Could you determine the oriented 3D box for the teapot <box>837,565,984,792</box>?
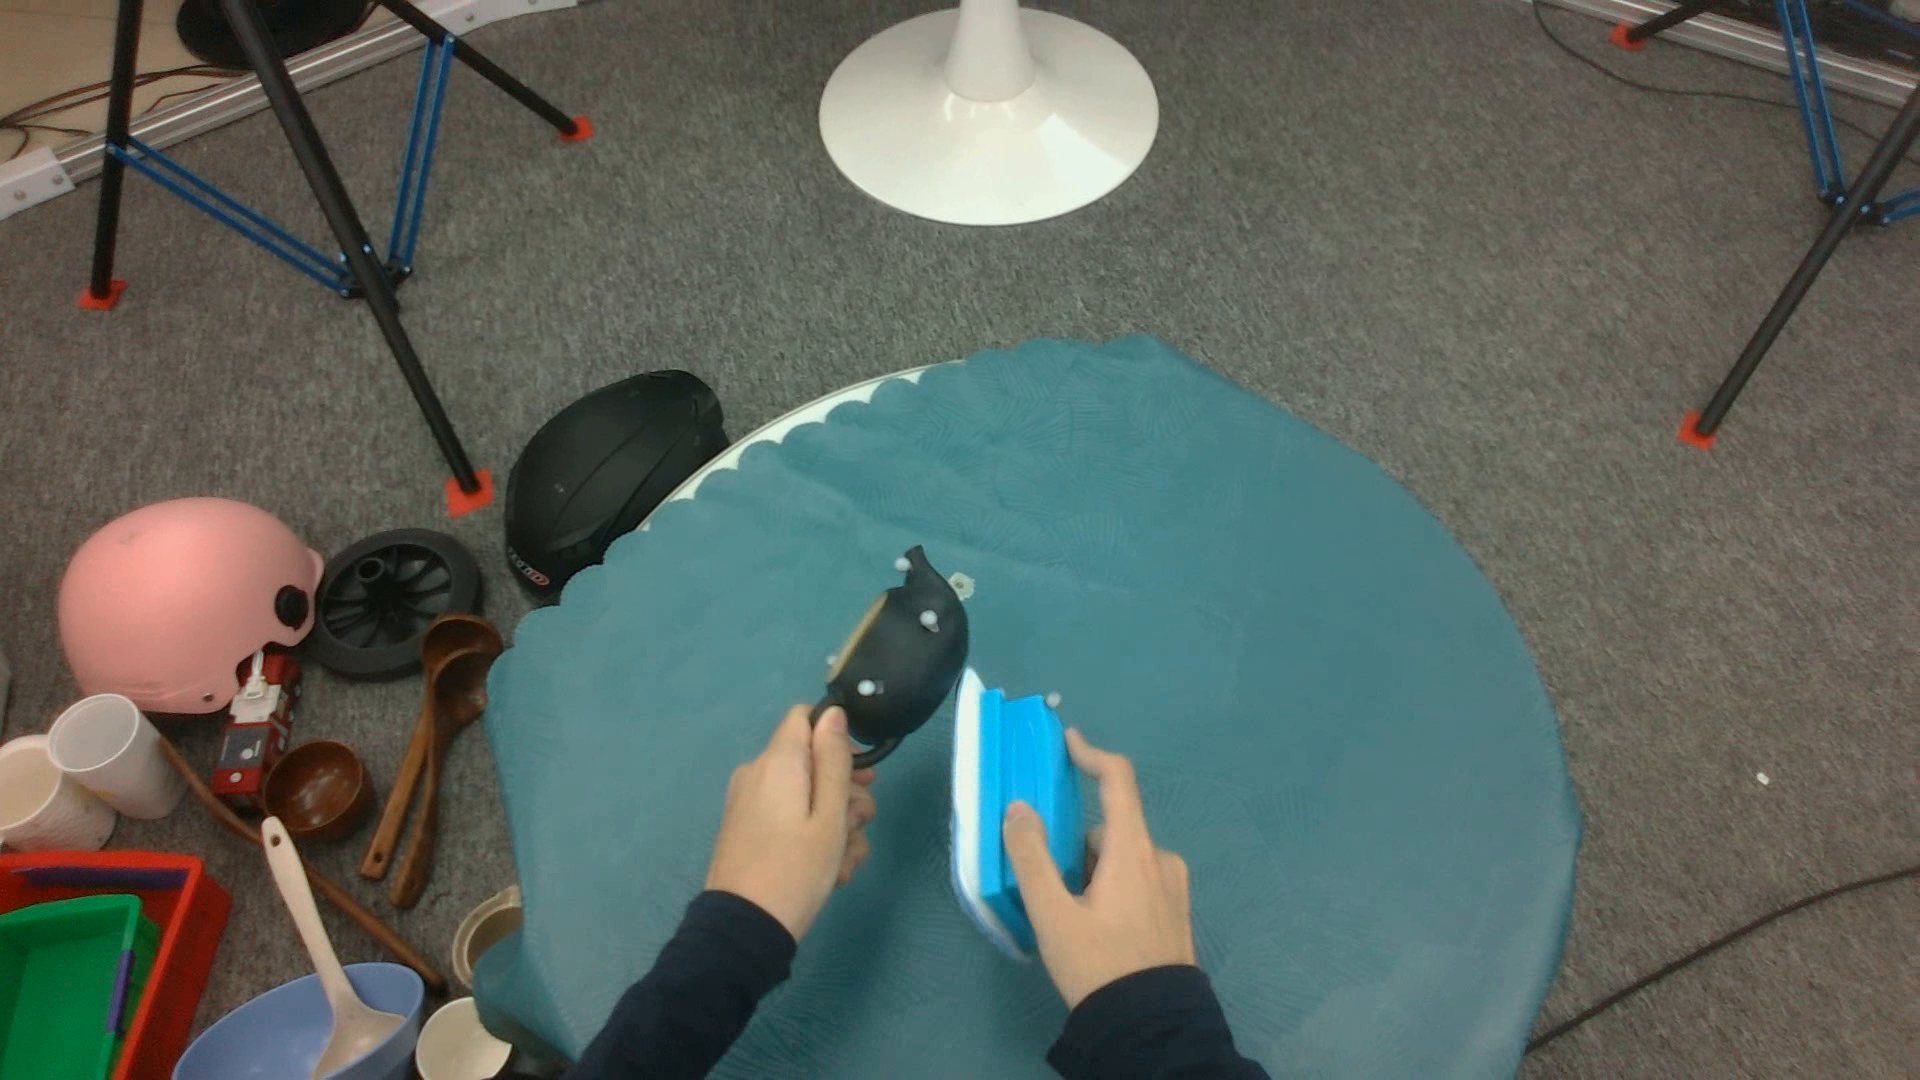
[{"bbox_3d":[-0.021,0.075,0.729,0.053,0.090,0.134,21,58,5],"label":"teapot"}]

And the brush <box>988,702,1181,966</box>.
[{"bbox_3d":[0.069,0.143,0.704,0.056,0.084,0.144,-38,54,21],"label":"brush"}]
